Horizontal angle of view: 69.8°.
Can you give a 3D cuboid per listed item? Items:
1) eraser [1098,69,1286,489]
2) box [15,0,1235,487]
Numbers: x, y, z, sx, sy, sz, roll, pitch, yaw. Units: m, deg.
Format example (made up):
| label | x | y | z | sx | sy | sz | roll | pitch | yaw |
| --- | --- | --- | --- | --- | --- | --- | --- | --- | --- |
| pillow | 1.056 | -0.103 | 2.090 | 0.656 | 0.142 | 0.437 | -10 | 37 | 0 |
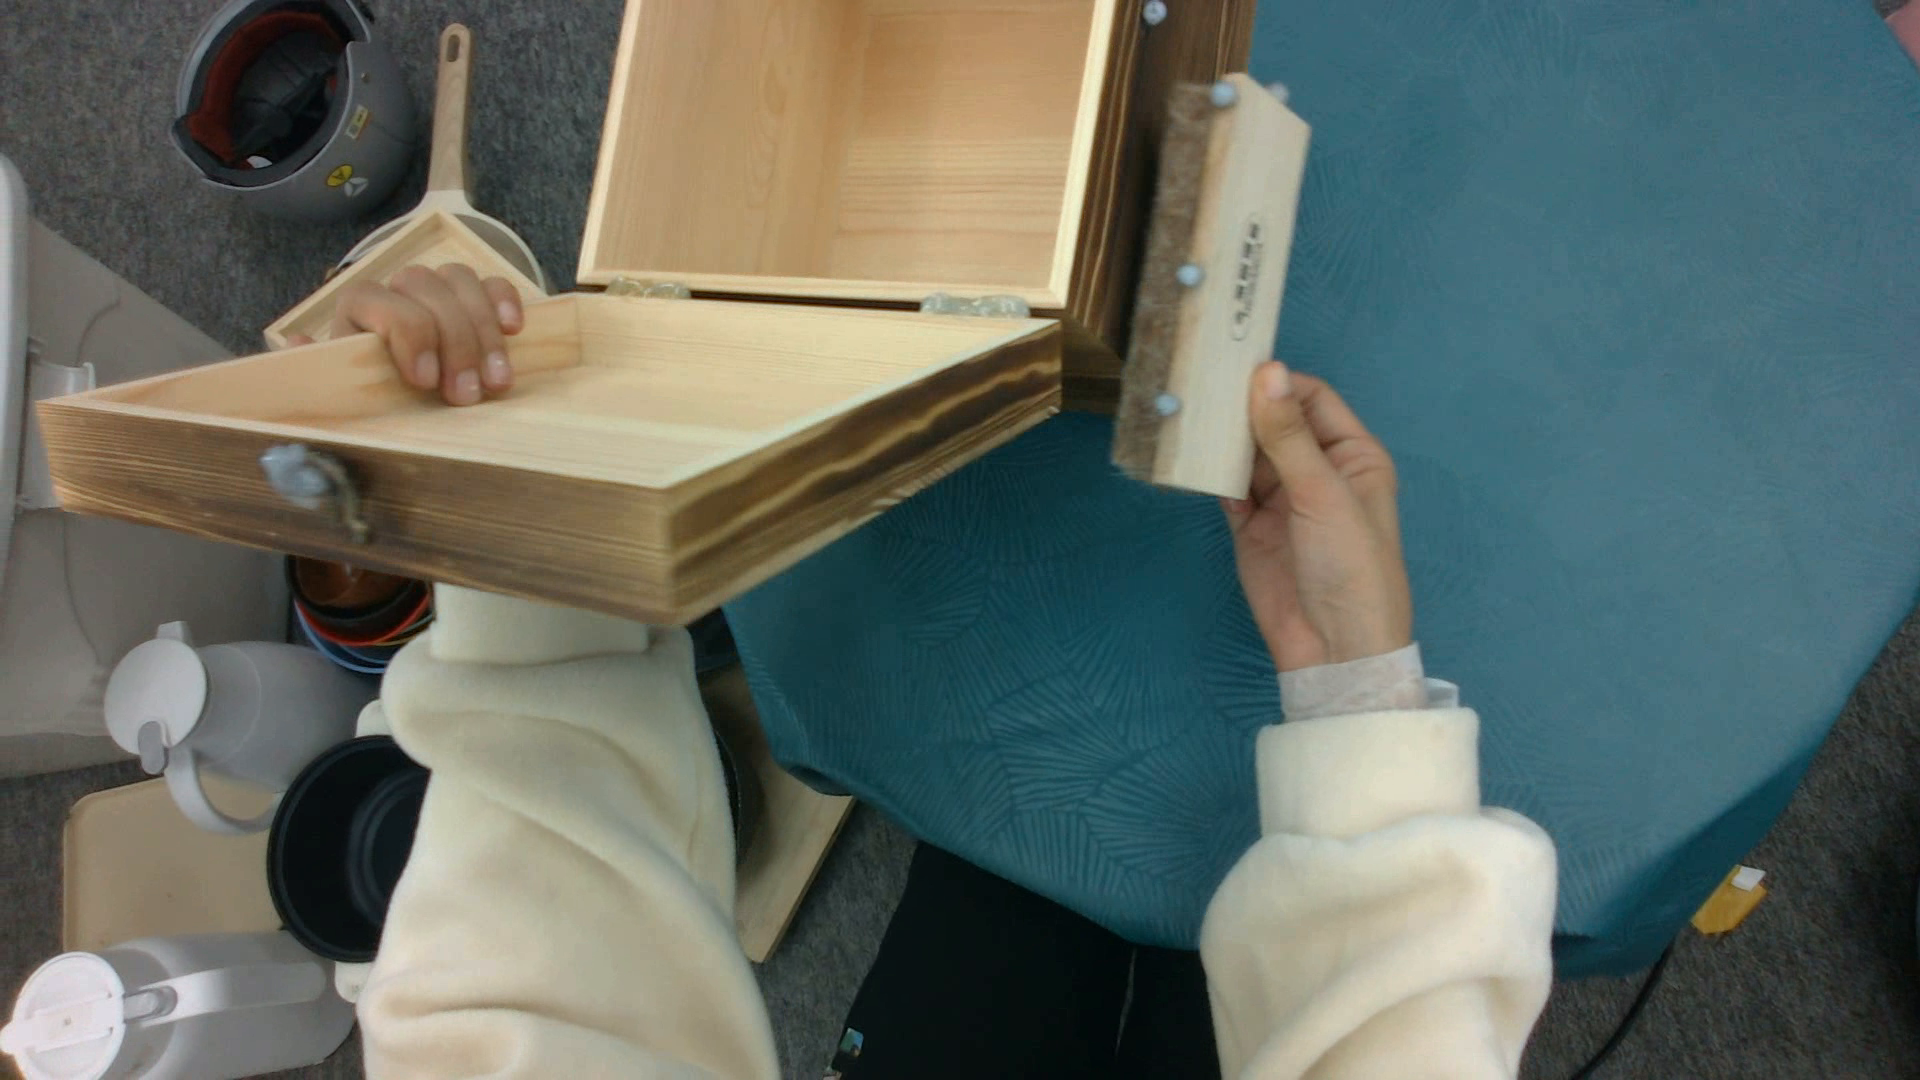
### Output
| label | x | y | z | sx | sy | sz | roll | pitch | yaw |
| --- | --- | --- | --- | --- | --- | --- | --- | --- | --- |
| eraser | 0.084 | -0.091 | 0.495 | 0.029 | 0.057 | 0.139 | 9 | 90 | 38 |
| box | -0.056 | -0.140 | 0.475 | 0.208 | 0.375 | 0.322 | 6 | 84 | 24 |
